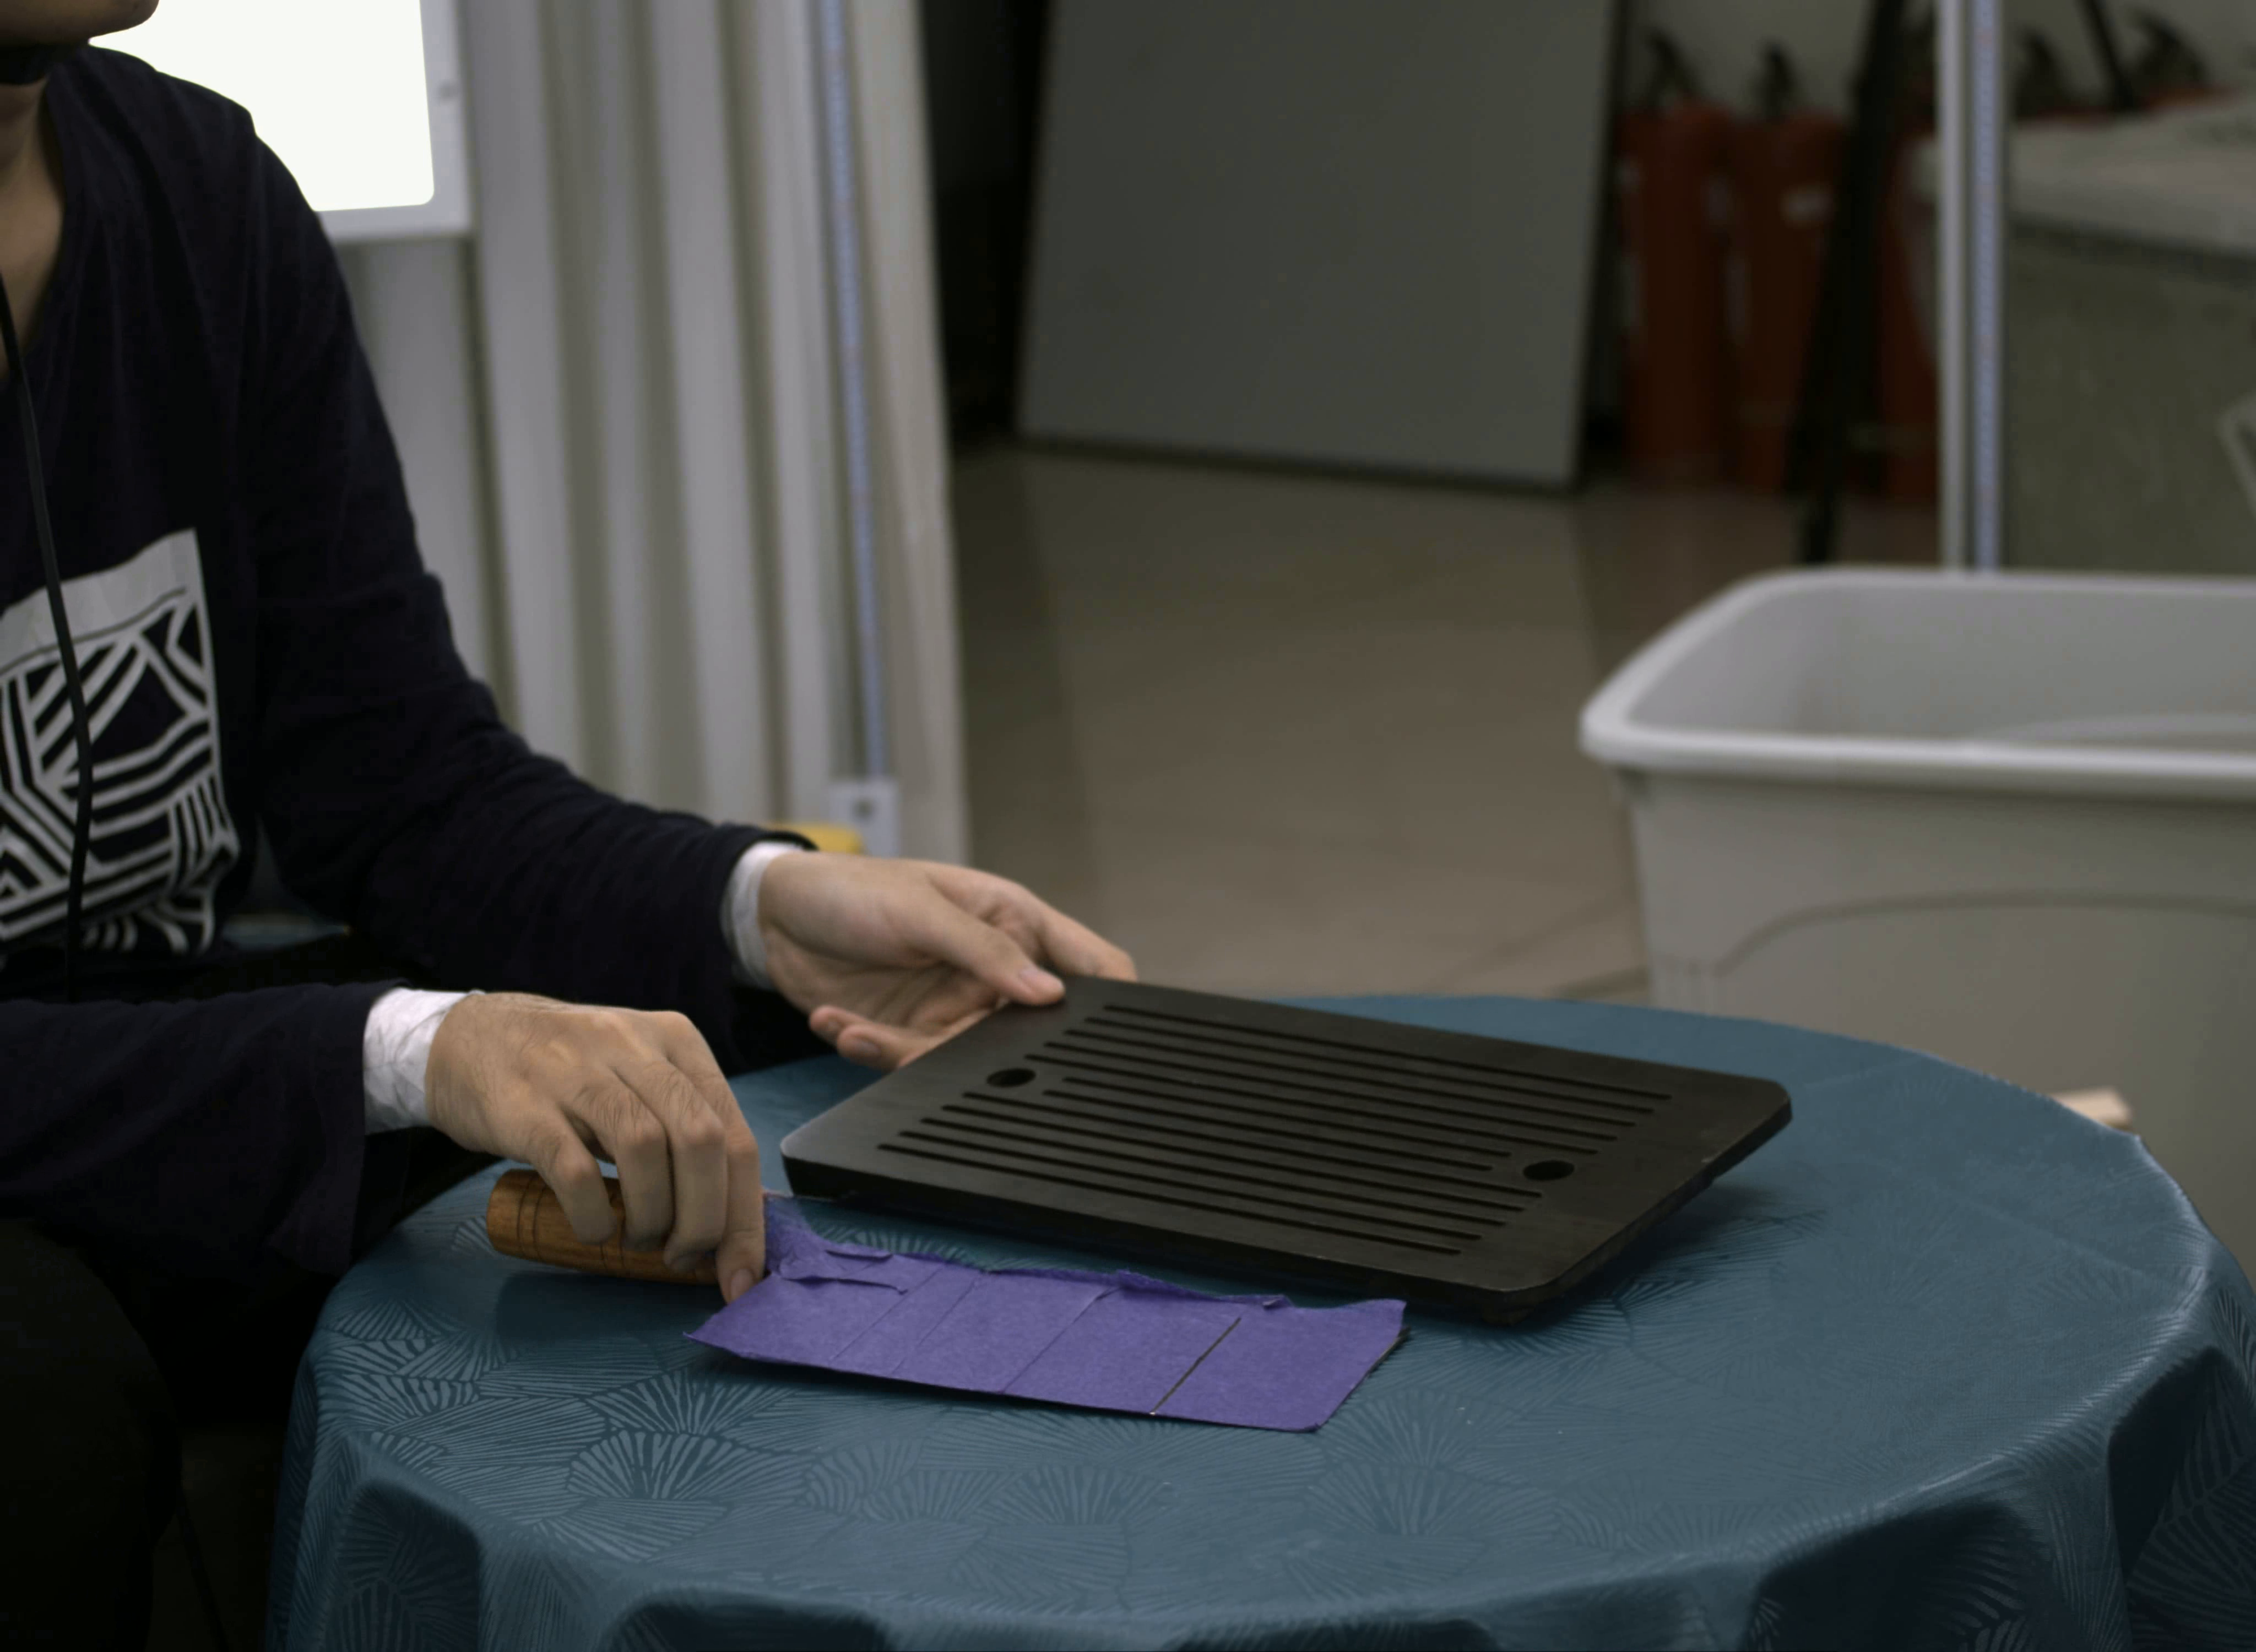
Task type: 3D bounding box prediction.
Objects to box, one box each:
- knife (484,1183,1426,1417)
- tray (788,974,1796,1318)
[{"bbox_3d":[-0.069,0.144,1.642,0.315,0.032,0.102,3,15,24],"label":"knife"},{"bbox_3d":[0.052,0.101,1.758,0.308,0.019,0.167,6,24,38],"label":"tray"}]
